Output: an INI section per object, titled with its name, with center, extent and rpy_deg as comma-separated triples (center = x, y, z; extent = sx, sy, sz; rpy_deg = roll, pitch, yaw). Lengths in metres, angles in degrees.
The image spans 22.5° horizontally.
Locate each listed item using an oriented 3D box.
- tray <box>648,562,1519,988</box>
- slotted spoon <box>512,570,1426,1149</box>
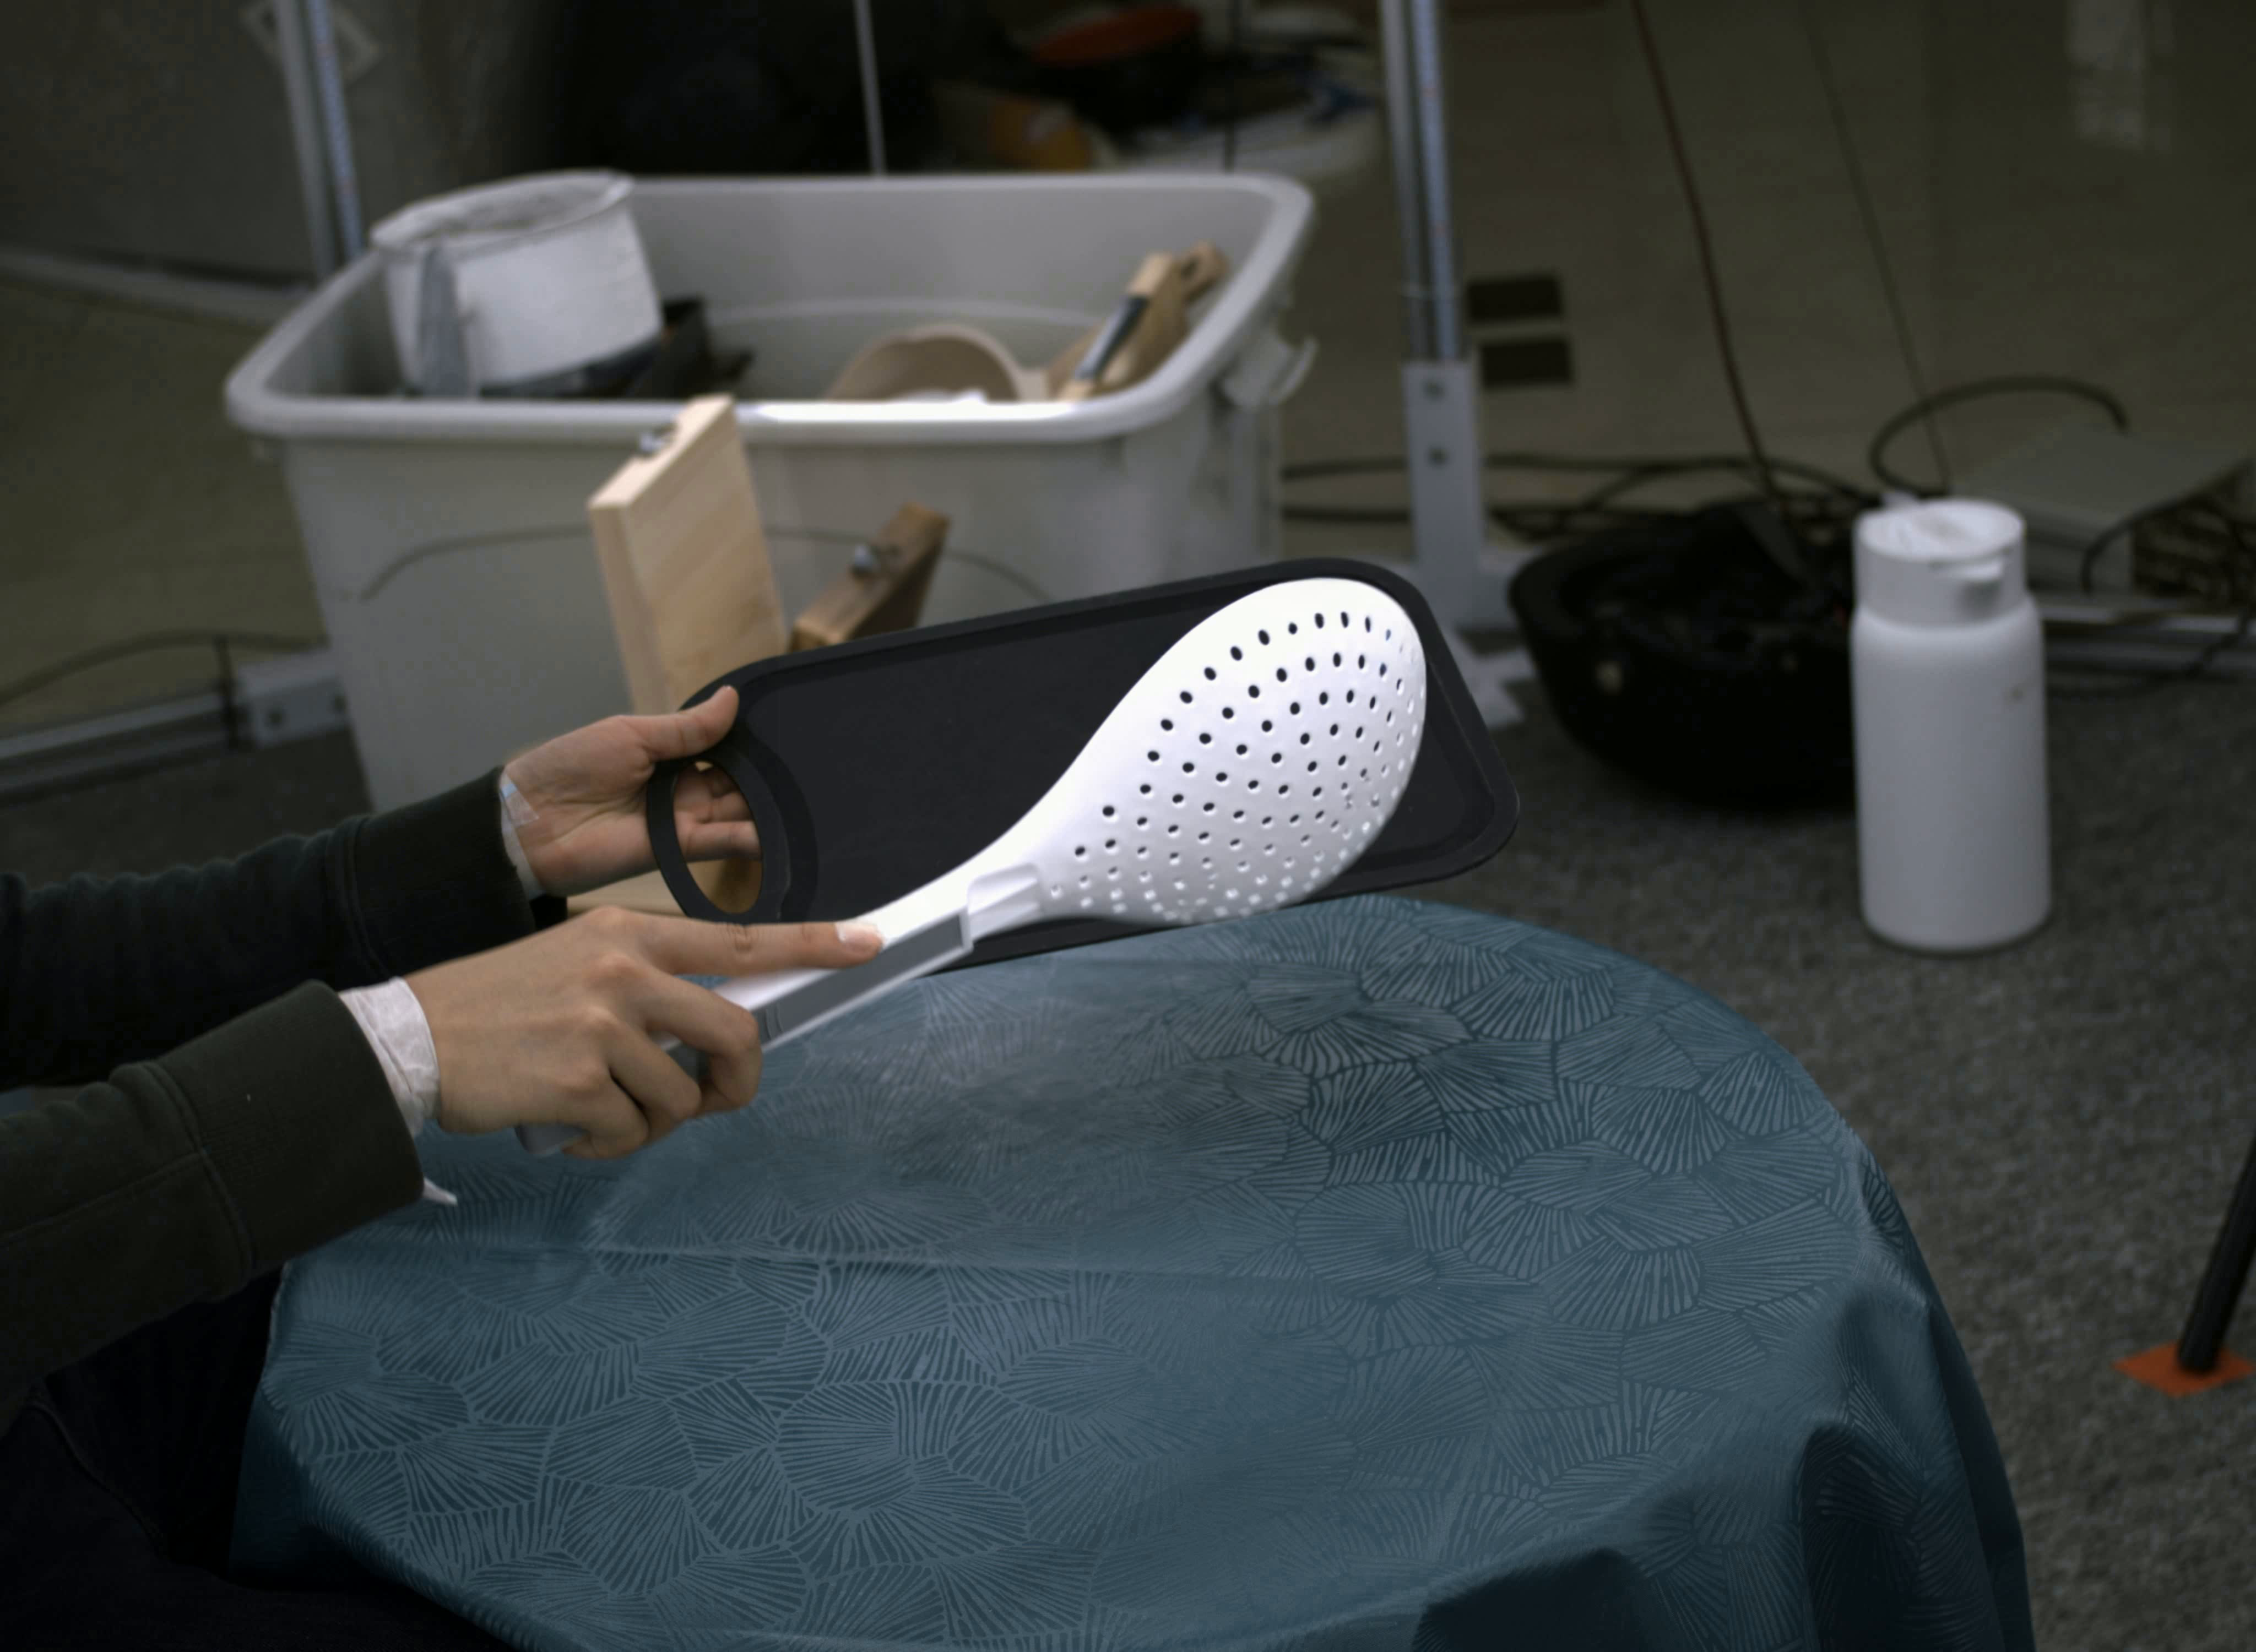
[tray]
center = -0.022, -0.022, 2.177
extent = 0.324, 0.010, 0.207
rpy_deg = -10, 40, -8
[slotted spoon]
center = -0.045, 0.020, 1.859
extent = 0.348, 0.139, 0.045
rpy_deg = -22, 47, -16
